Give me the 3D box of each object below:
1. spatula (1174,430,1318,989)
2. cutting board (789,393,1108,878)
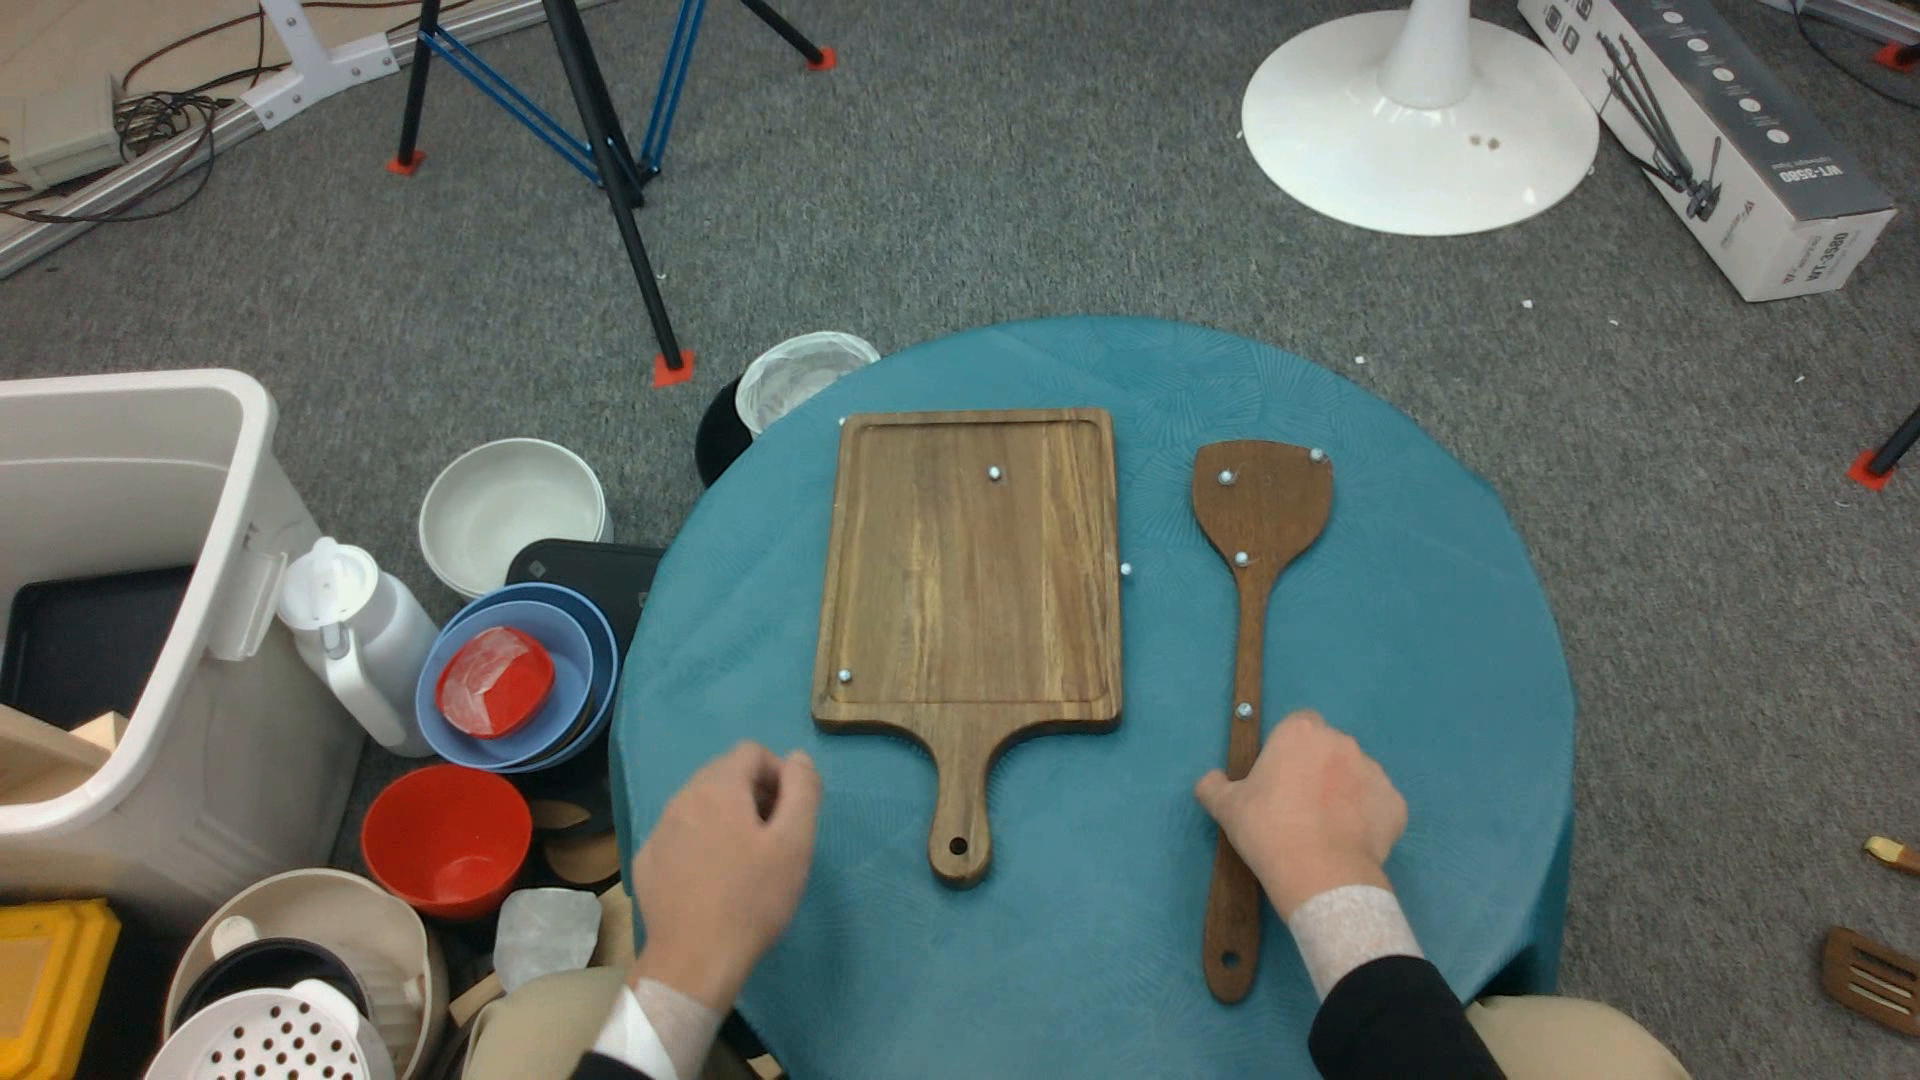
[{"bbox_3d":[0.168,0.084,0.854,0.096,0.016,0.388,6,56,9],"label":"spatula"},{"bbox_3d":[-0.007,0.046,0.890,0.201,0.023,0.353,-1,55,4],"label":"cutting board"}]
